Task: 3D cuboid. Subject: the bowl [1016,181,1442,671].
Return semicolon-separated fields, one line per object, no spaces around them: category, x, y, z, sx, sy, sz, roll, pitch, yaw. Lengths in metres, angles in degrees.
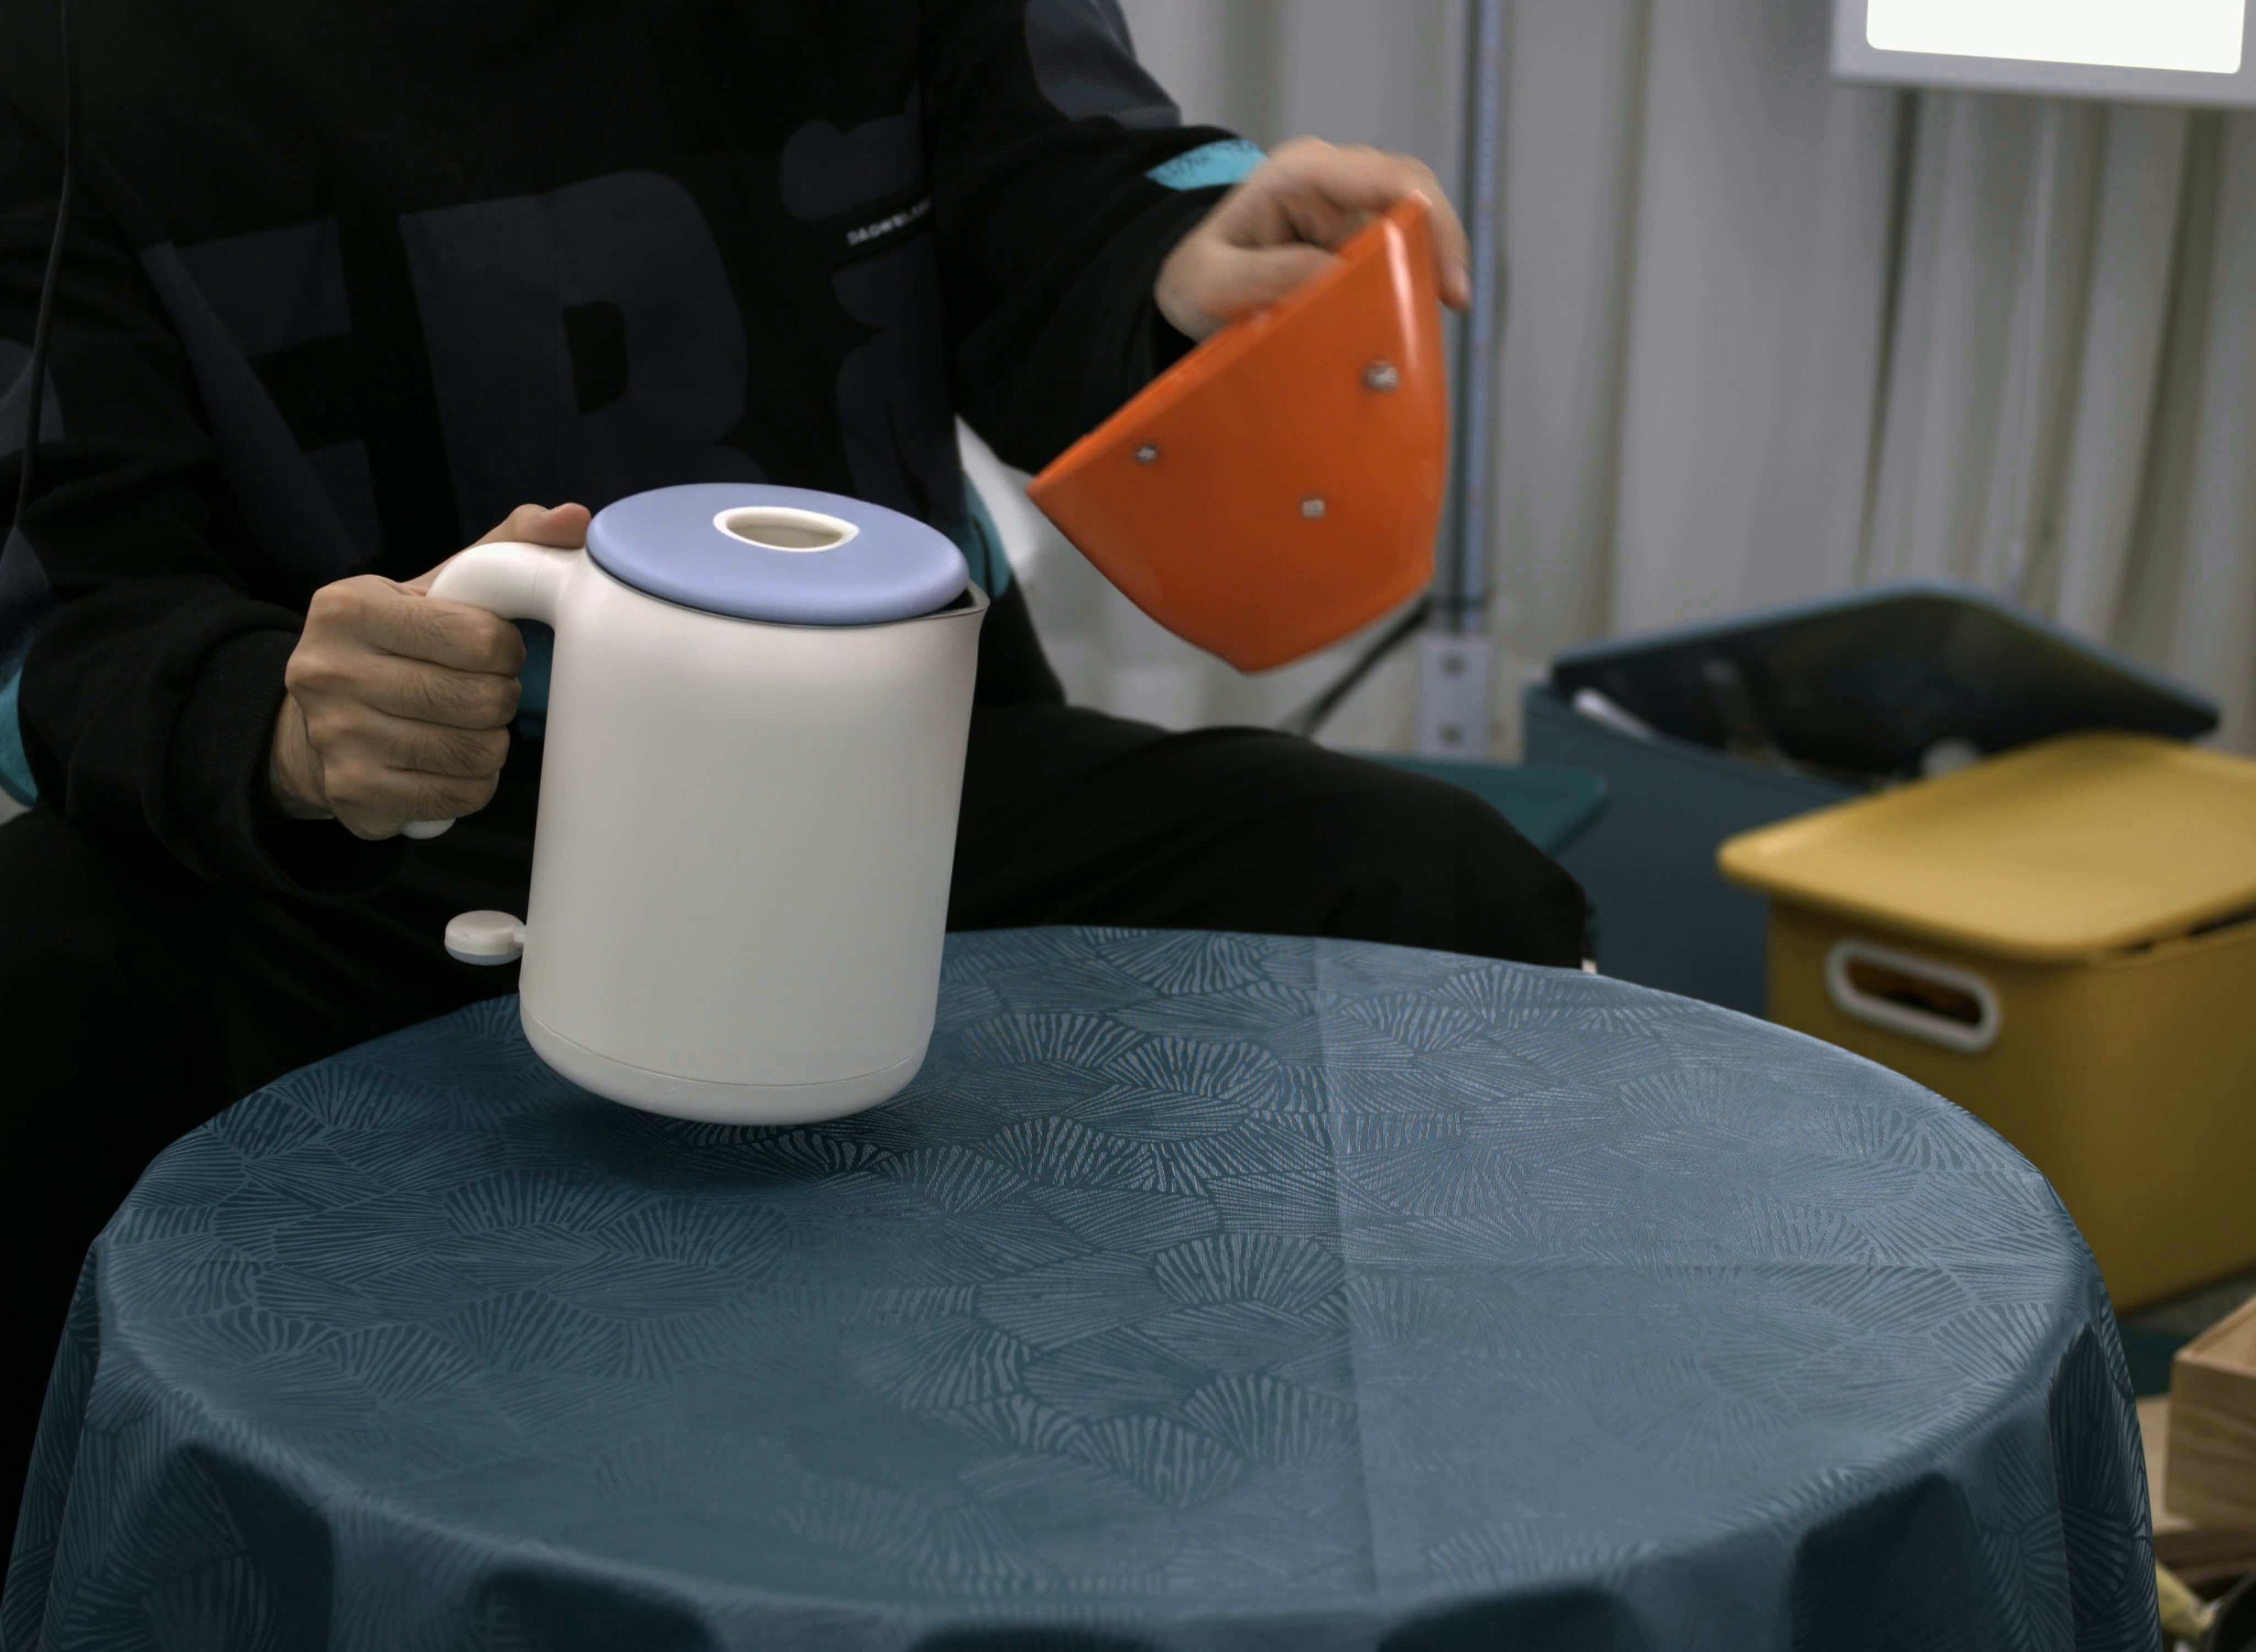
bowl;0.045;-0.111;1.566;0.147;0.105;0.147;-29;10;6

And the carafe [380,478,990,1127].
carafe;-0.141;-0.012;1.637;0.190;0.184;0.132;9;19;11
